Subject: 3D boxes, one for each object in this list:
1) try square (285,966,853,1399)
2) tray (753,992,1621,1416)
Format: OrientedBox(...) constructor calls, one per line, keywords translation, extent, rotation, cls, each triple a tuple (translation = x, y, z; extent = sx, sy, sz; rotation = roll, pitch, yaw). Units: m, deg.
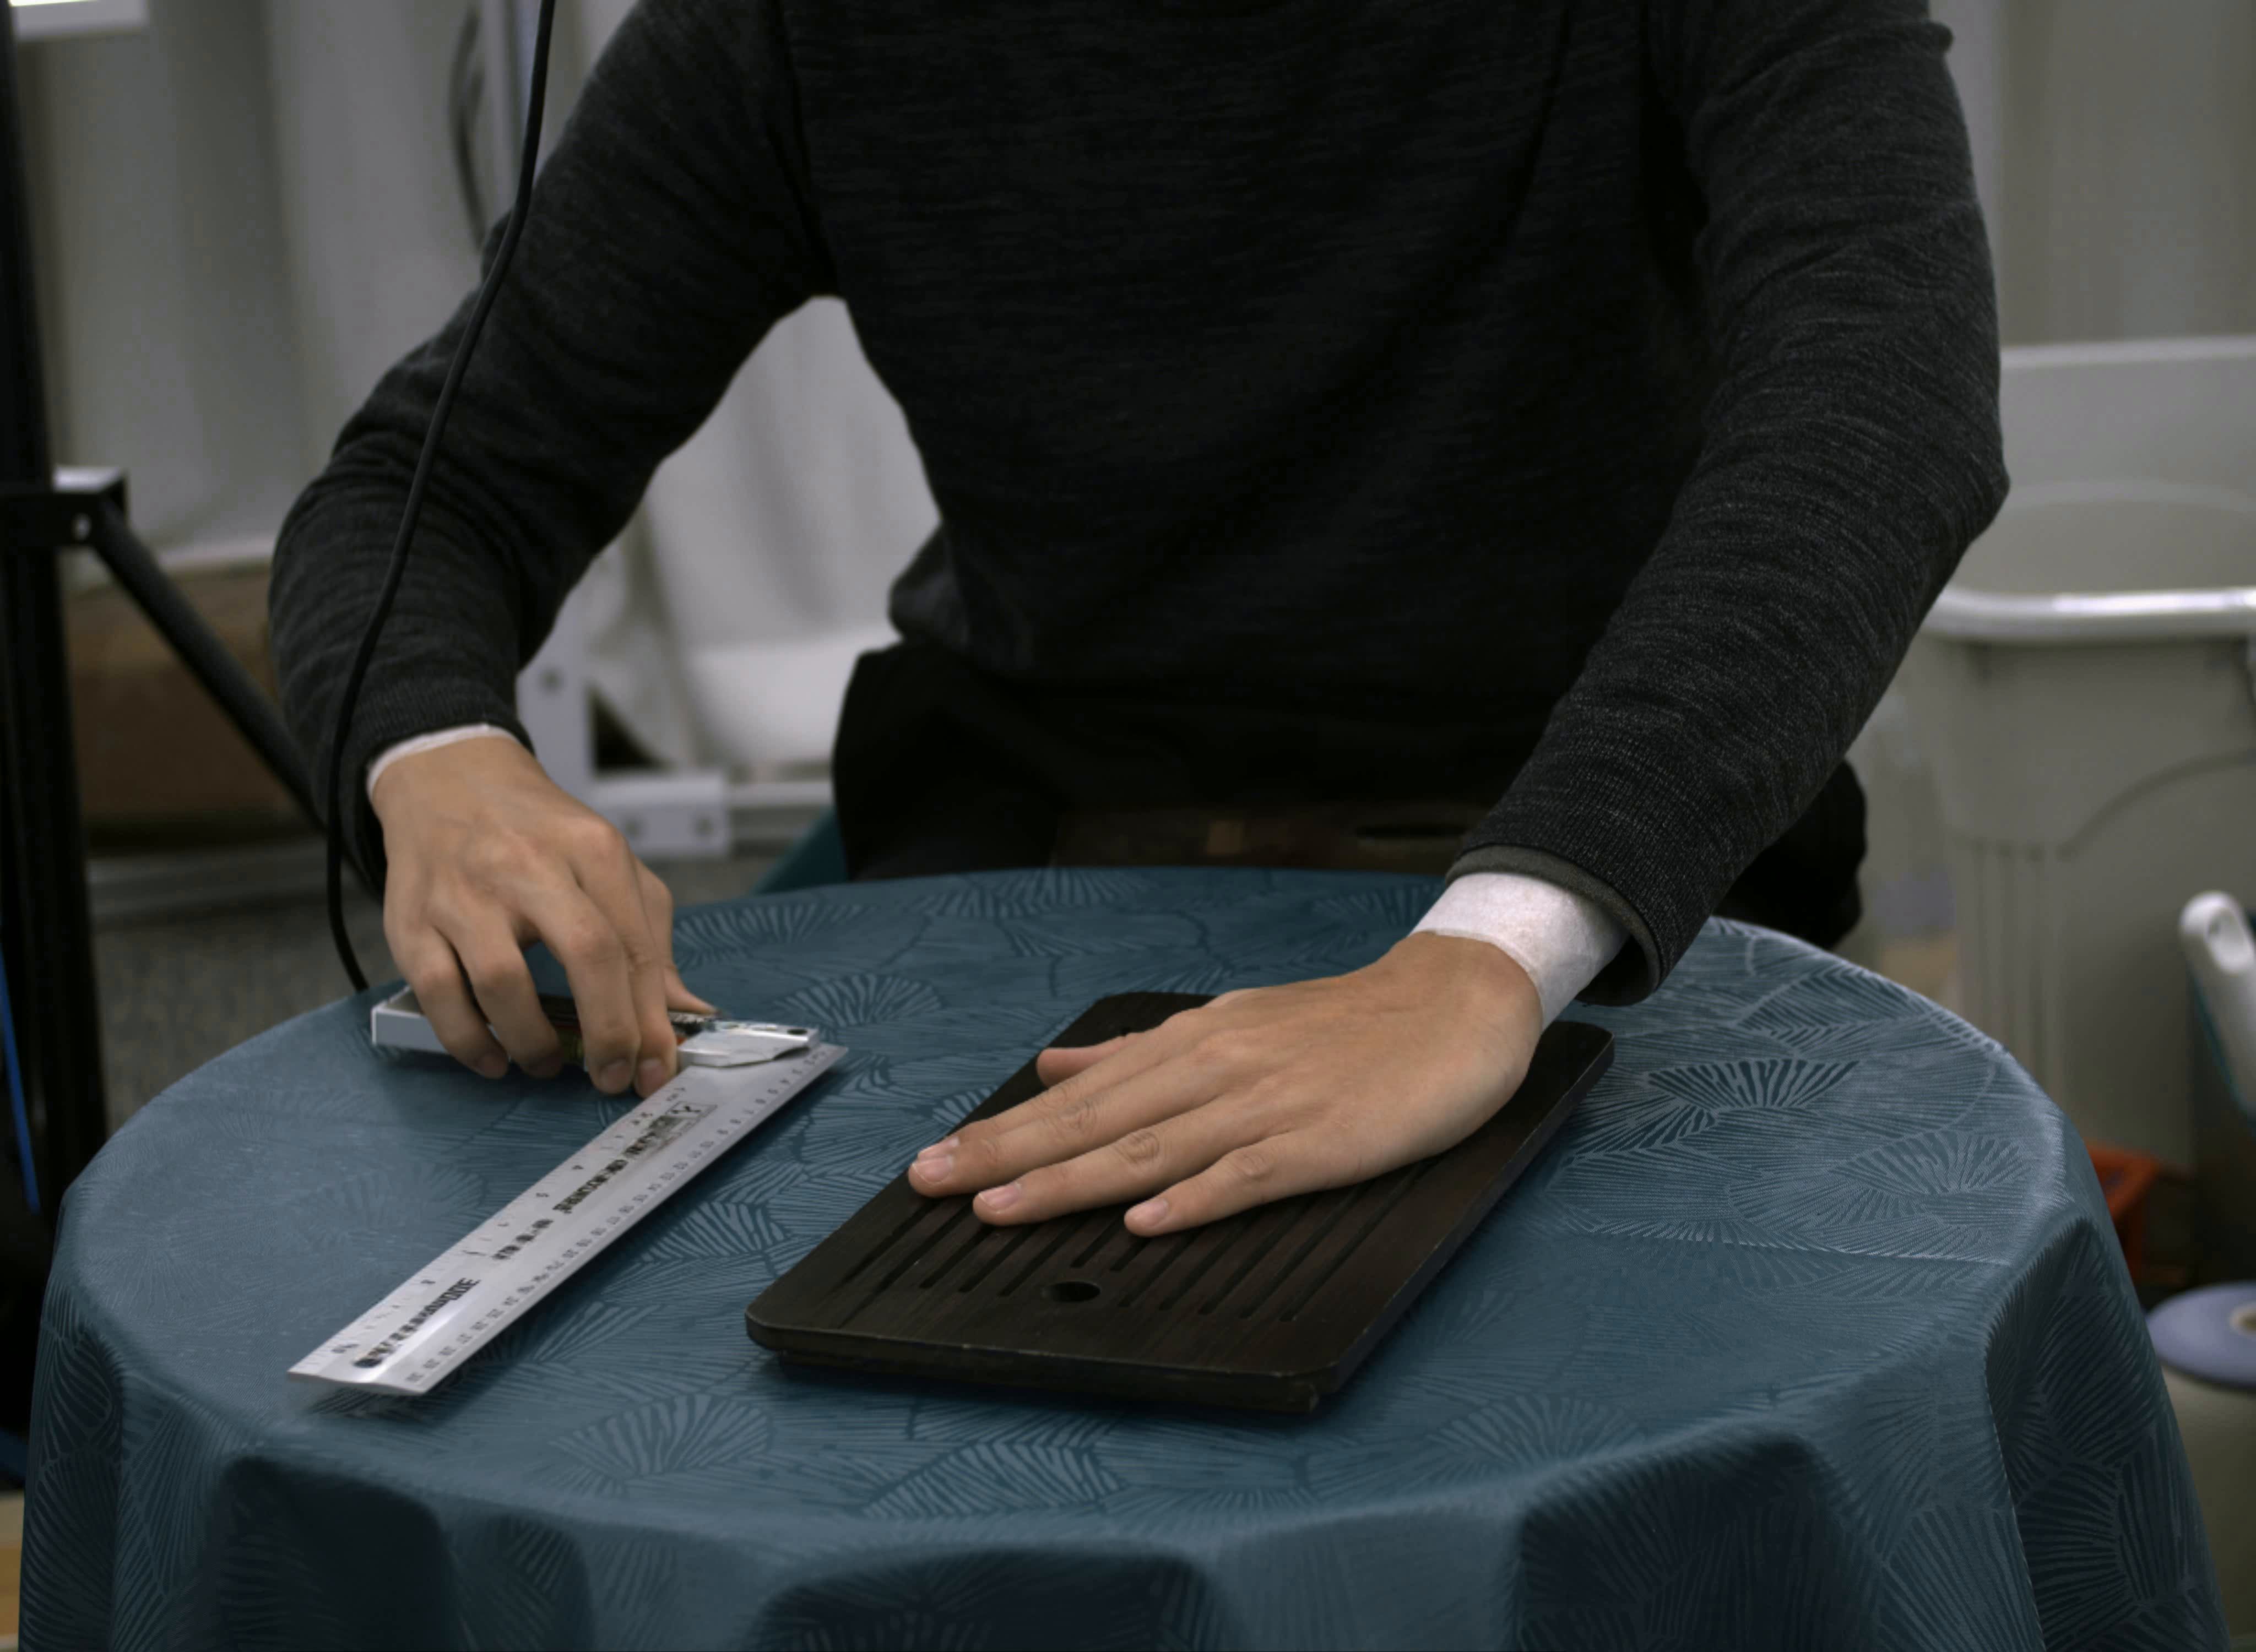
OrientedBox(translation=(-0.206, 0.100, 1.570), extent=(0.154, 0.016, 0.309), rotation=(8, 18, 18), cls="try square")
OrientedBox(translation=(0.026, 0.105, 1.530), extent=(0.172, 0.018, 0.302), rotation=(3, 17, 20), cls="tray")
